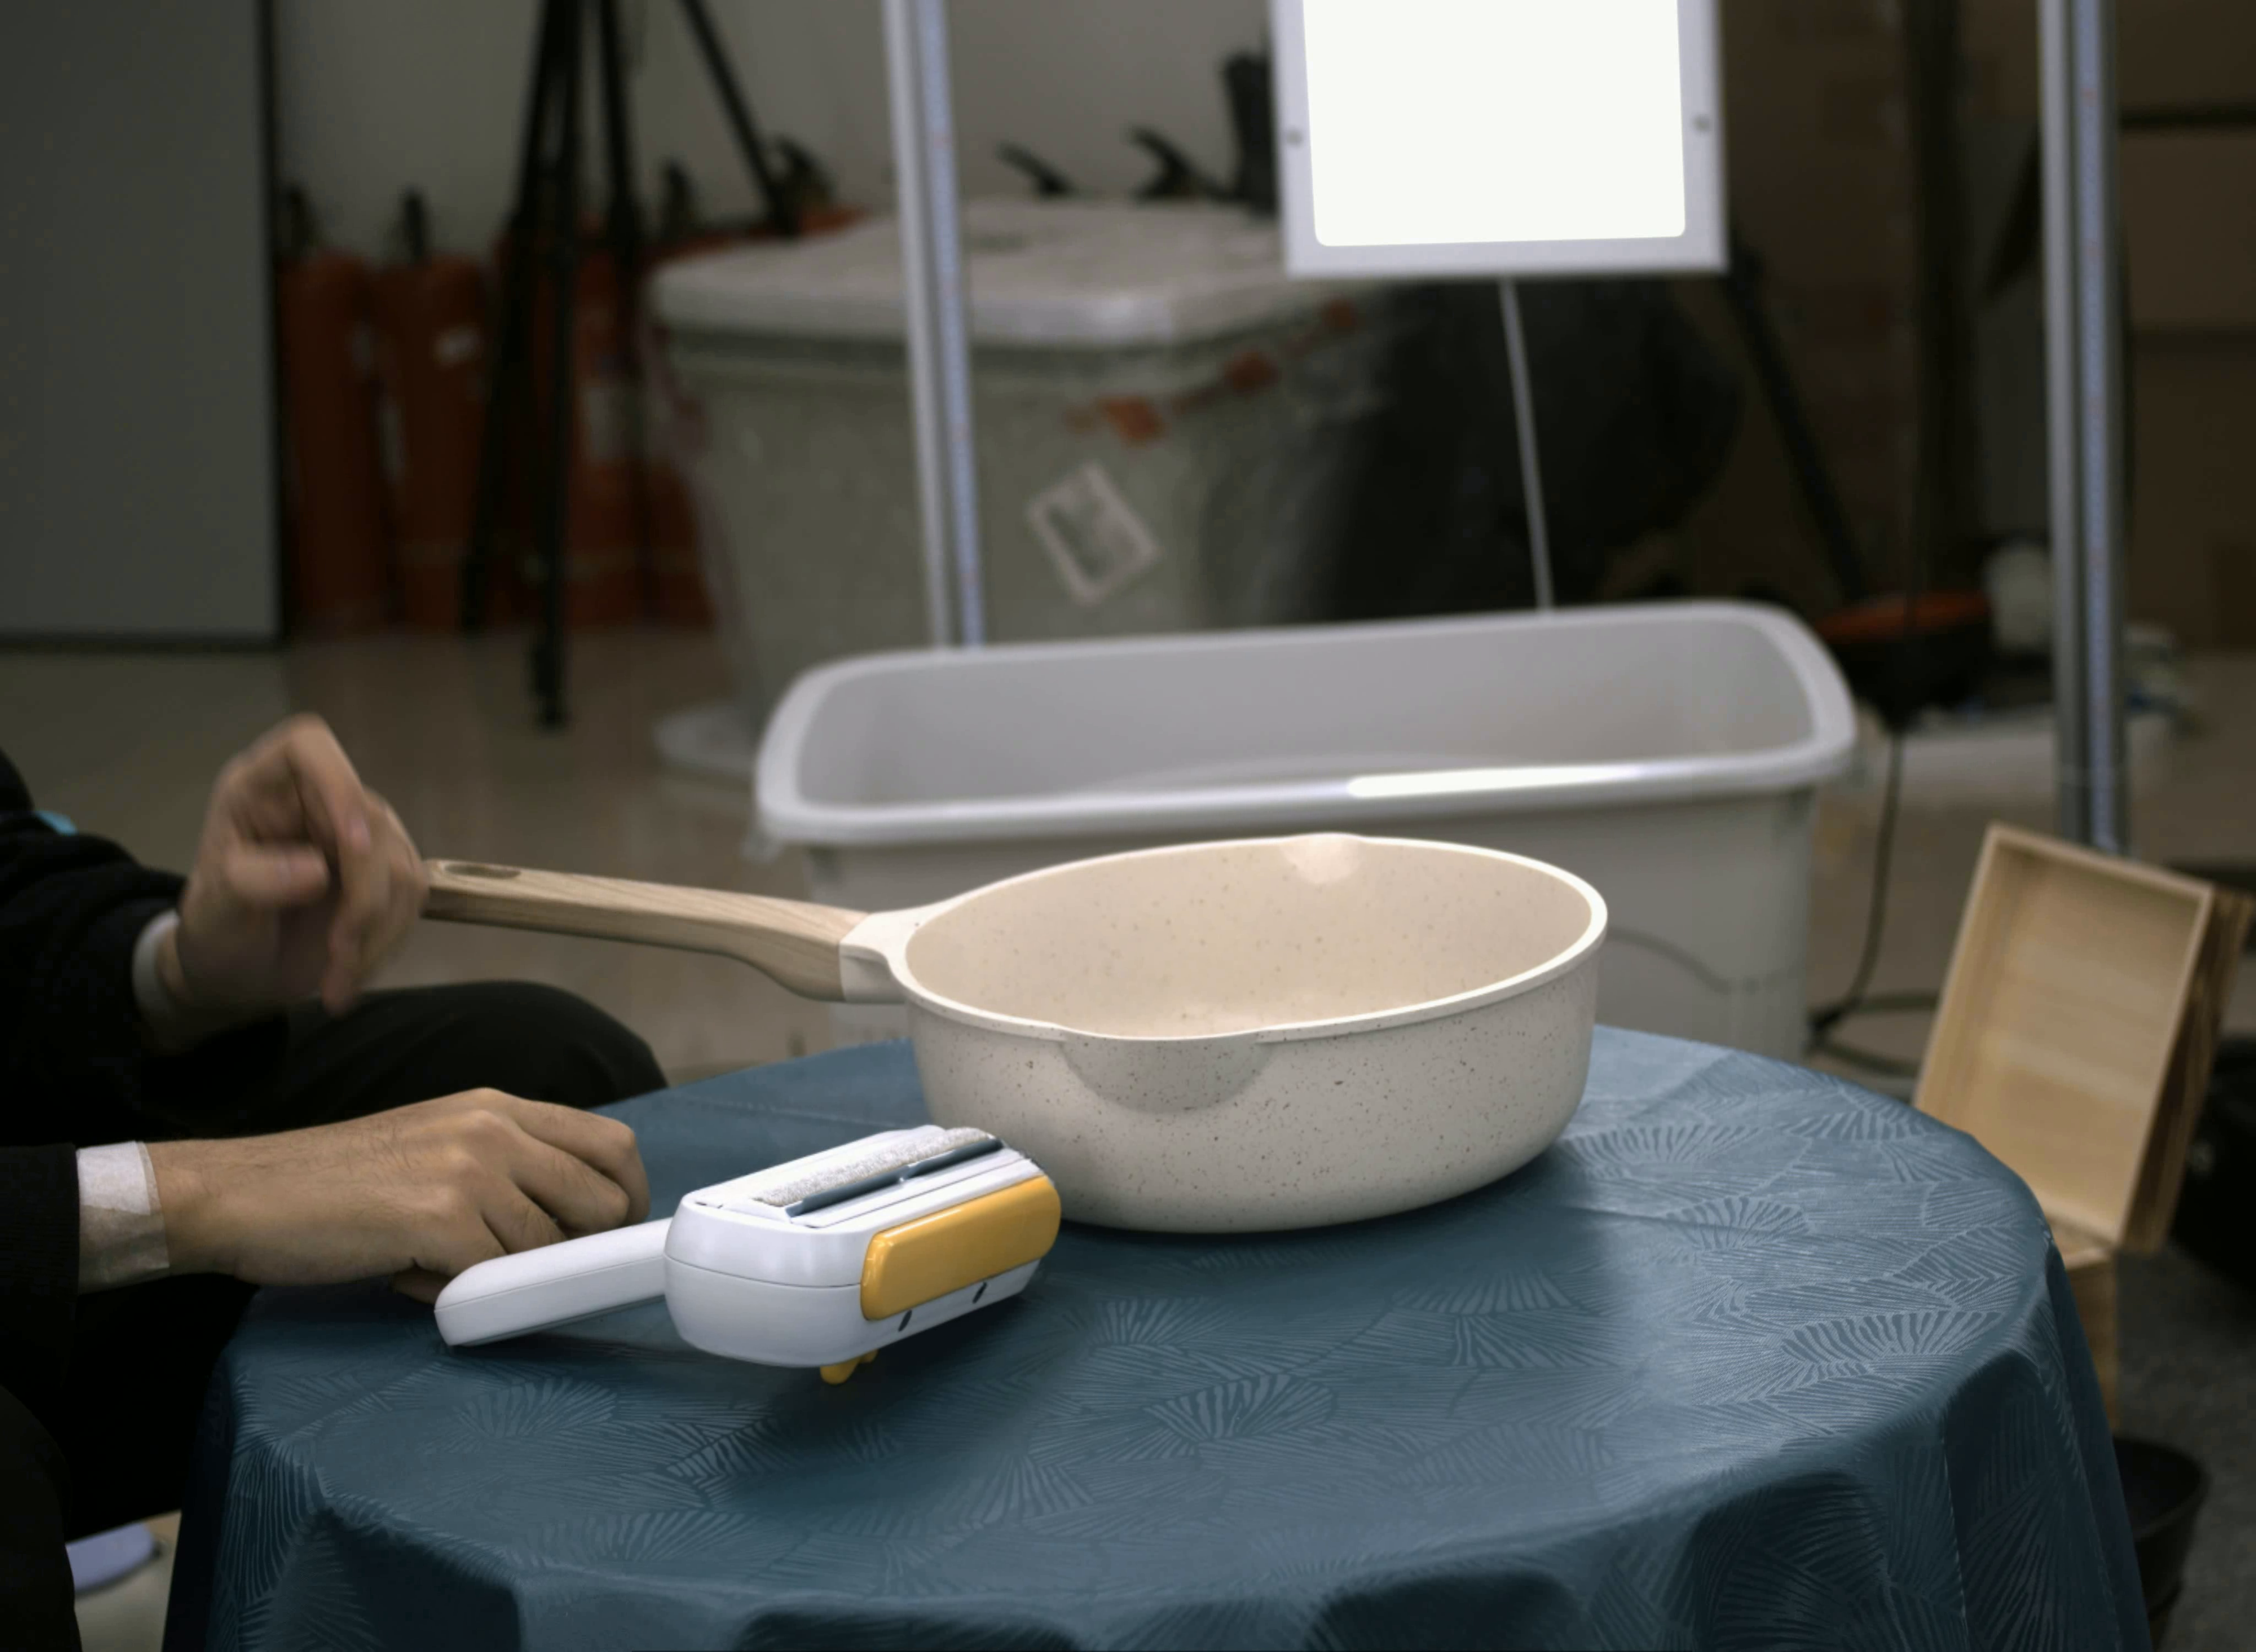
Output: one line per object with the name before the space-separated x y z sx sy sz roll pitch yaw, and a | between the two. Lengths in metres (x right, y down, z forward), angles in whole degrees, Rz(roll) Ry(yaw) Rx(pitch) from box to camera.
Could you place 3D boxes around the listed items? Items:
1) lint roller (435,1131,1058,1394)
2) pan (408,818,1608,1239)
lint roller | -0.137 0.138 1.756 0.196 0.074 0.189 0 9 27
pan | -0.044 0.066 1.947 0.439 0.102 0.259 -1 17 17
